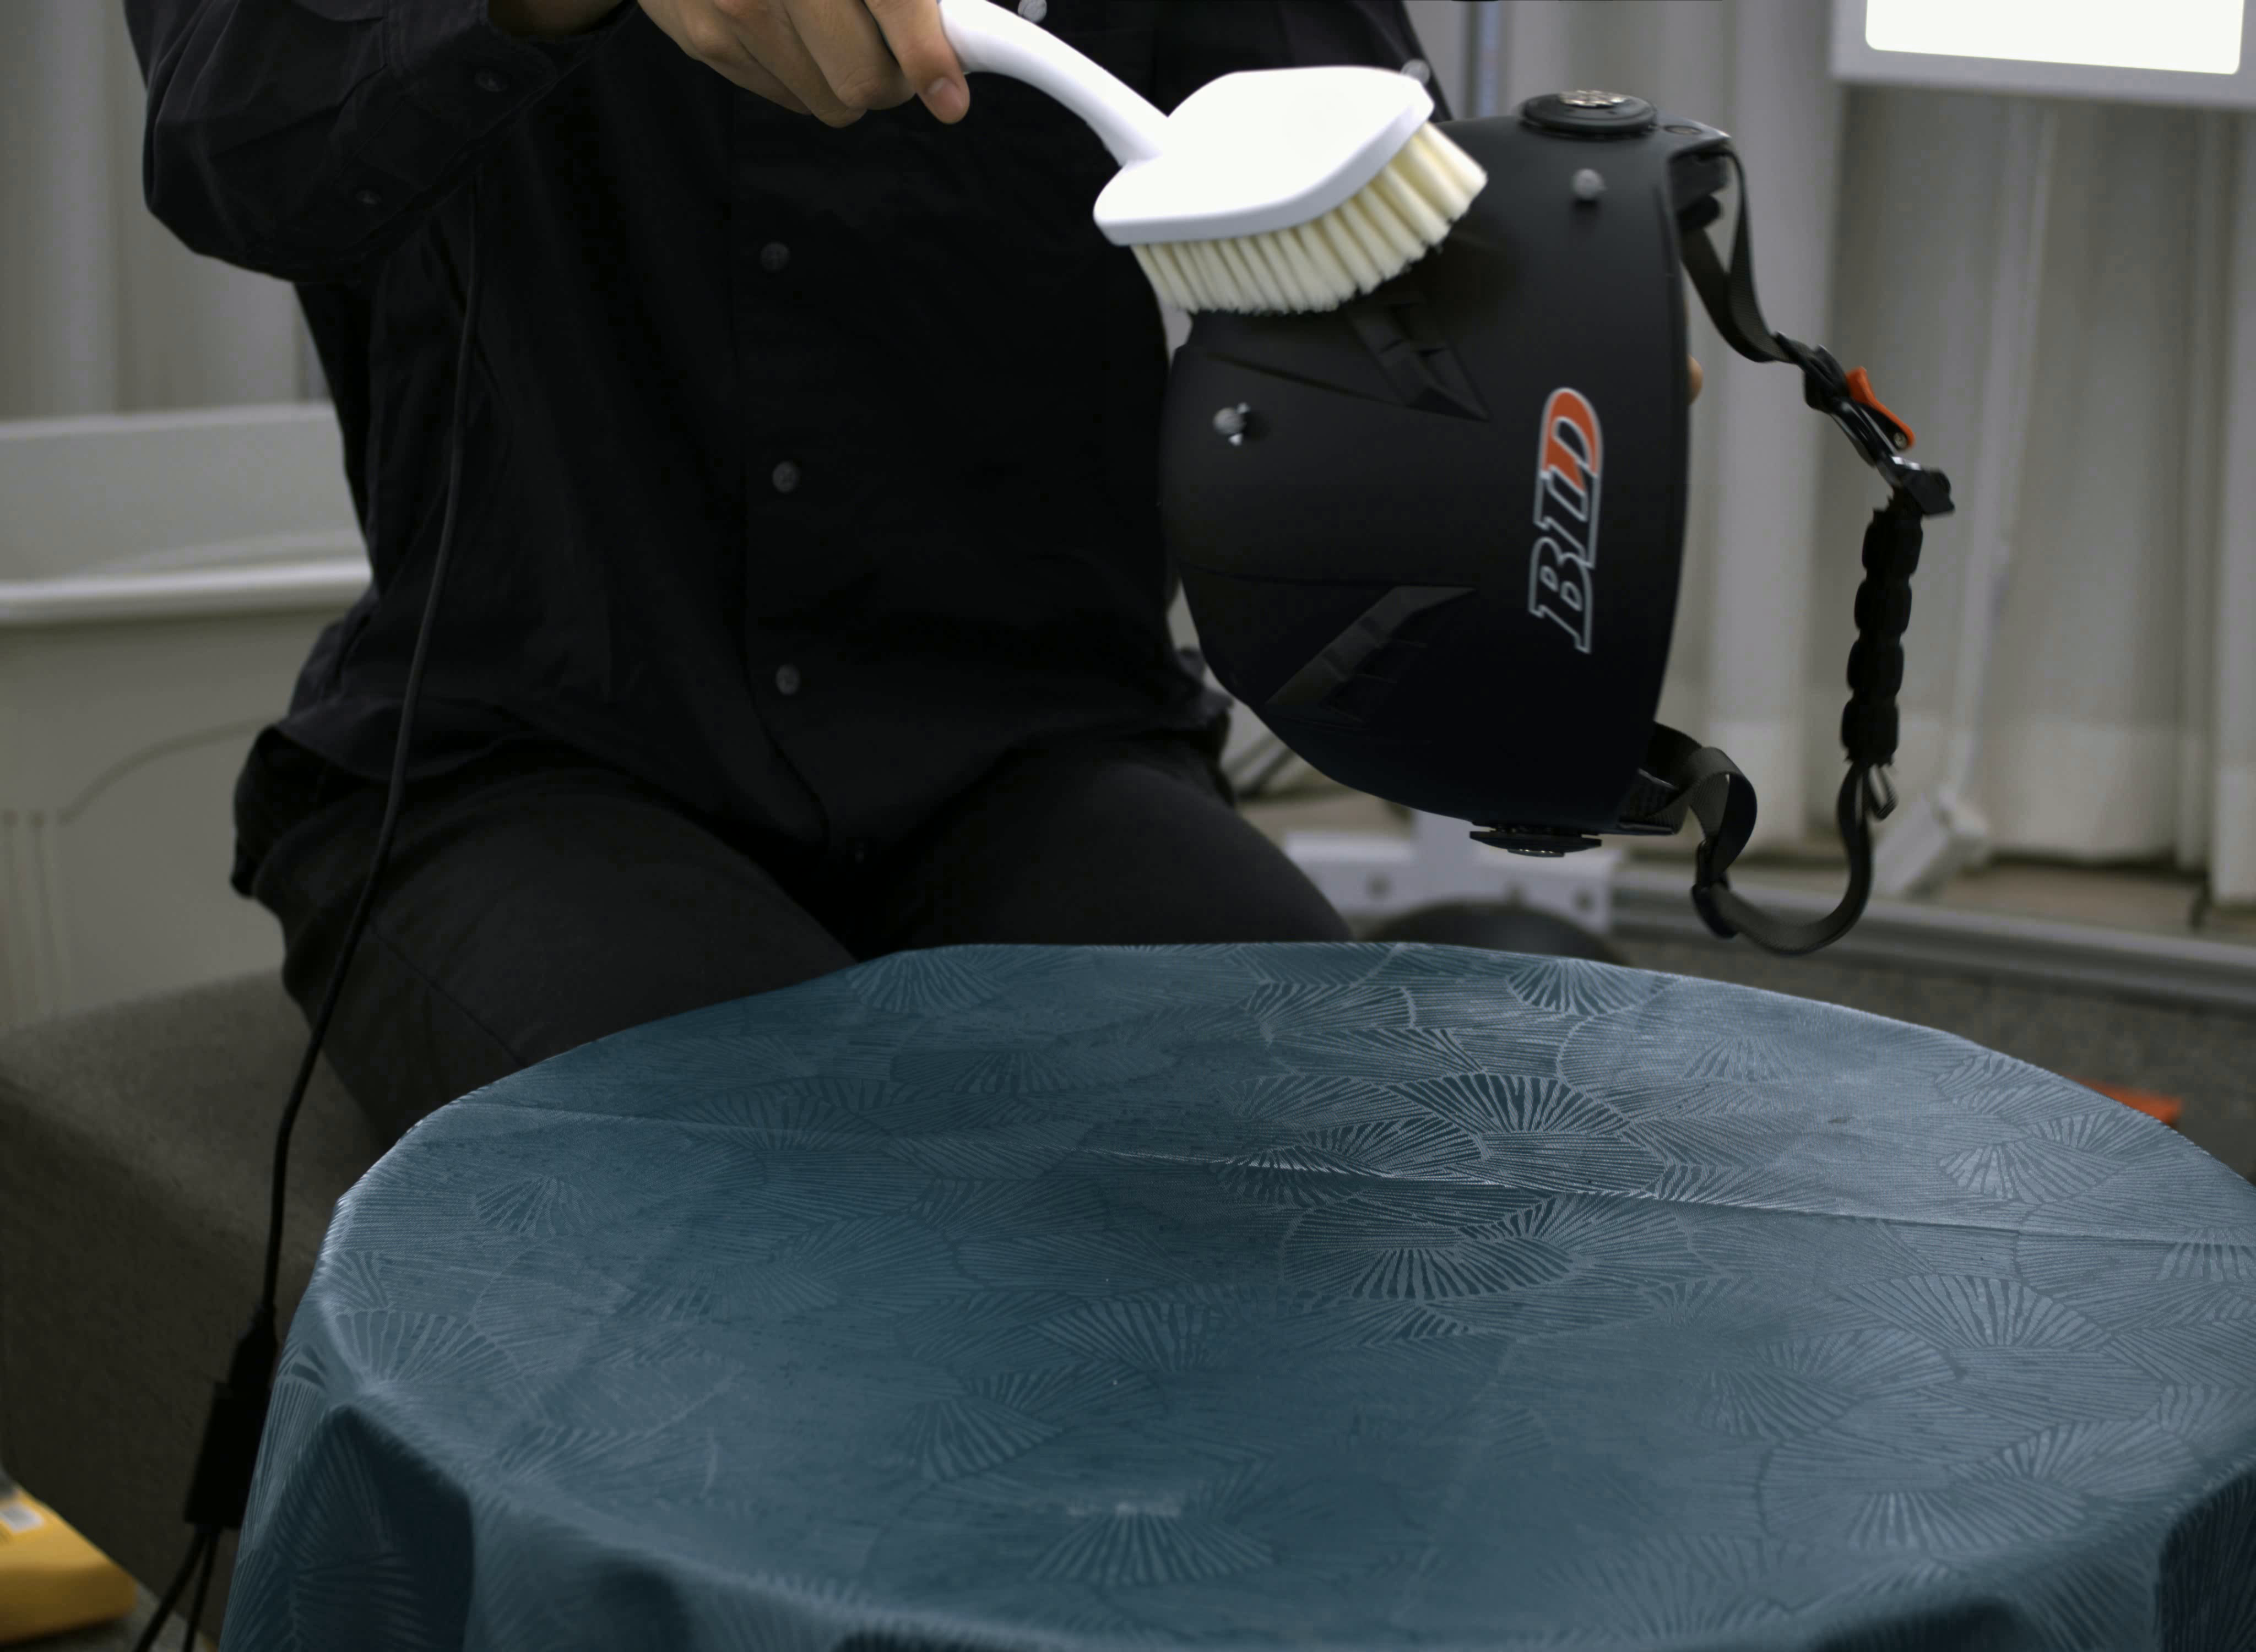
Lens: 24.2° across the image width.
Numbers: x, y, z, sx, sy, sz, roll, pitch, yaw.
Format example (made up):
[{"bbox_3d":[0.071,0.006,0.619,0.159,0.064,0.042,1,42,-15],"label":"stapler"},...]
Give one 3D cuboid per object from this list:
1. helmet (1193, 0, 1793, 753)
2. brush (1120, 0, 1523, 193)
[{"bbox_3d":[0.108,-0.145,1.624,0.172,0.248,0.275,2,10,-5],"label":"helmet"},{"bbox_3d":[-0.001,-0.244,1.608,0.083,0.085,0.321,-12,21,-43],"label":"brush"}]
